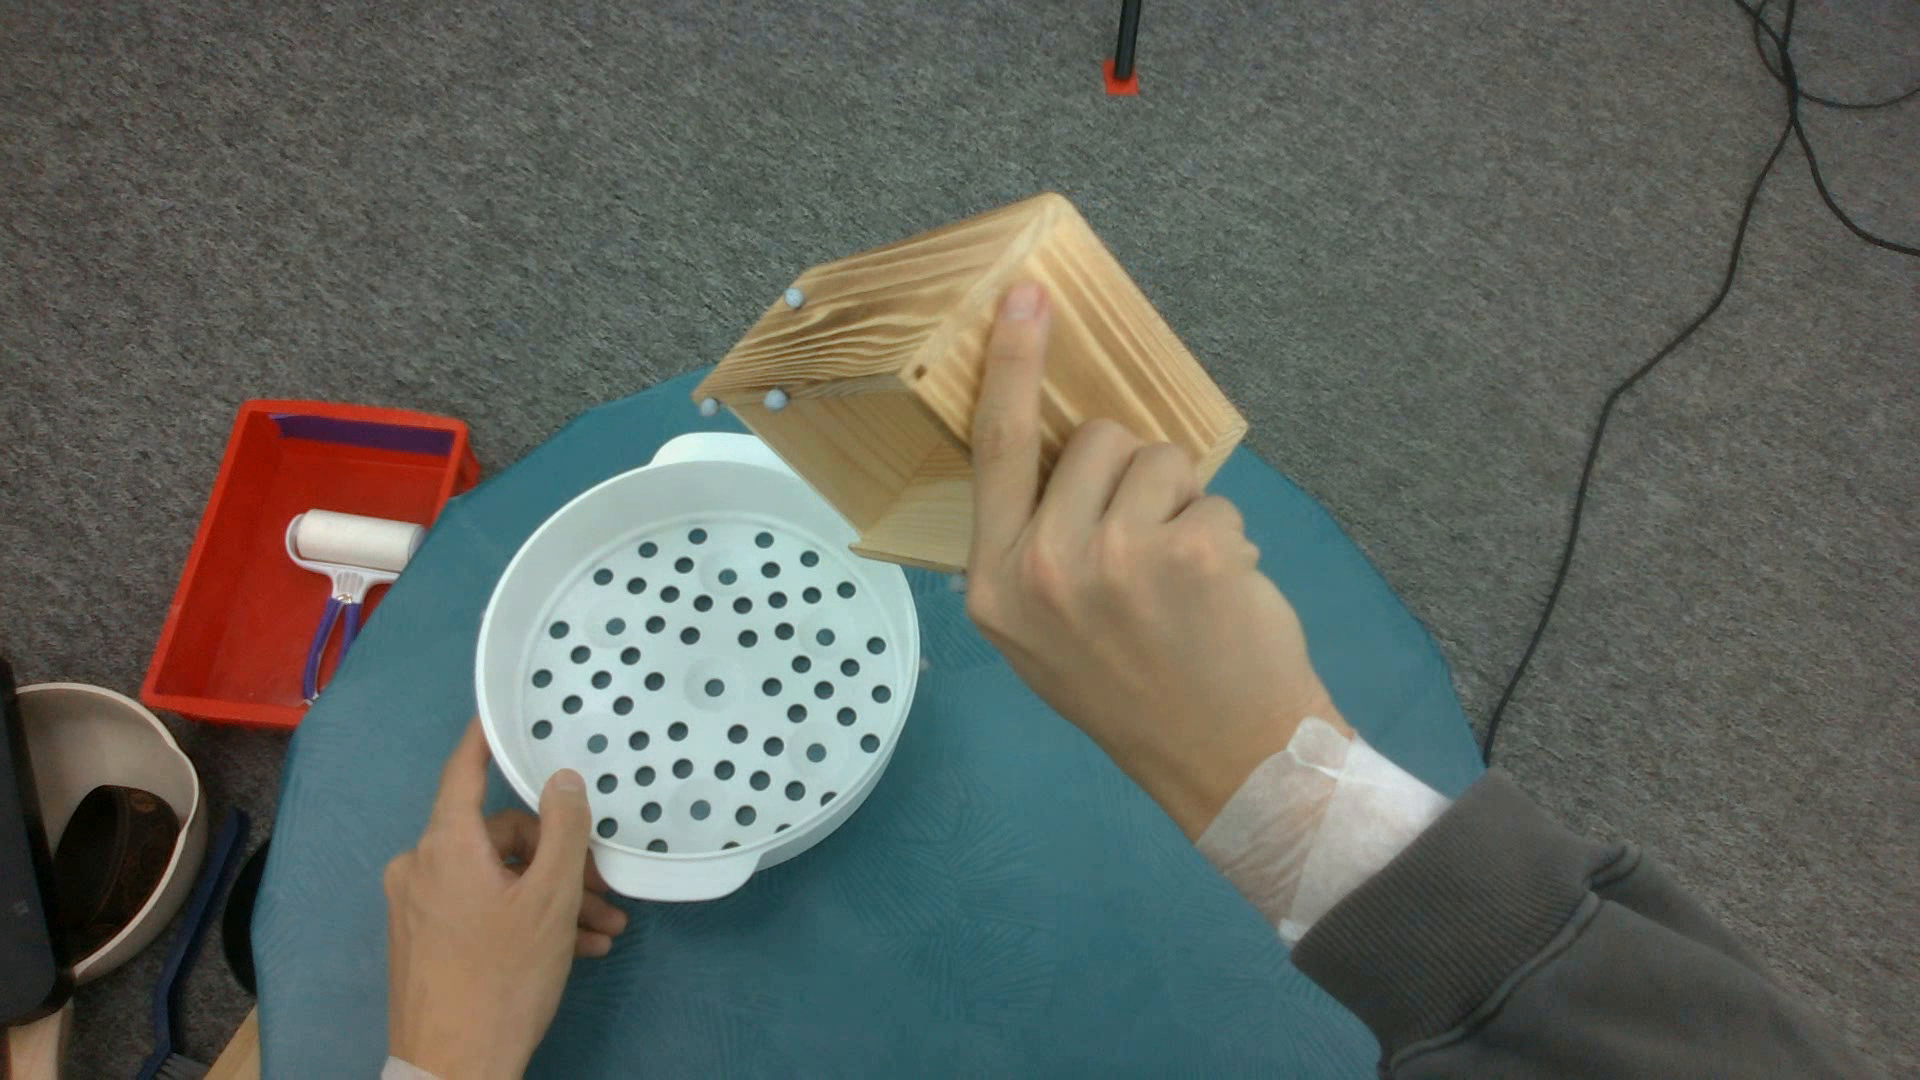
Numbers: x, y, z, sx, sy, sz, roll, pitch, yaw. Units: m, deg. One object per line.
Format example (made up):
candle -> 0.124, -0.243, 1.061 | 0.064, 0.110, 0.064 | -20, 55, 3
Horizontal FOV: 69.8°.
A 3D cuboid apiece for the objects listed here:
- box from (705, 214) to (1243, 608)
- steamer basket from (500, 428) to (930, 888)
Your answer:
box -> -0.006, -0.048, 0.535 | 0.107, 0.211, 0.080 | 44, 75, -23
steamer basket -> -0.117, 0.059, 0.680 | 0.202, 0.069, 0.231 | 4, 66, -2
